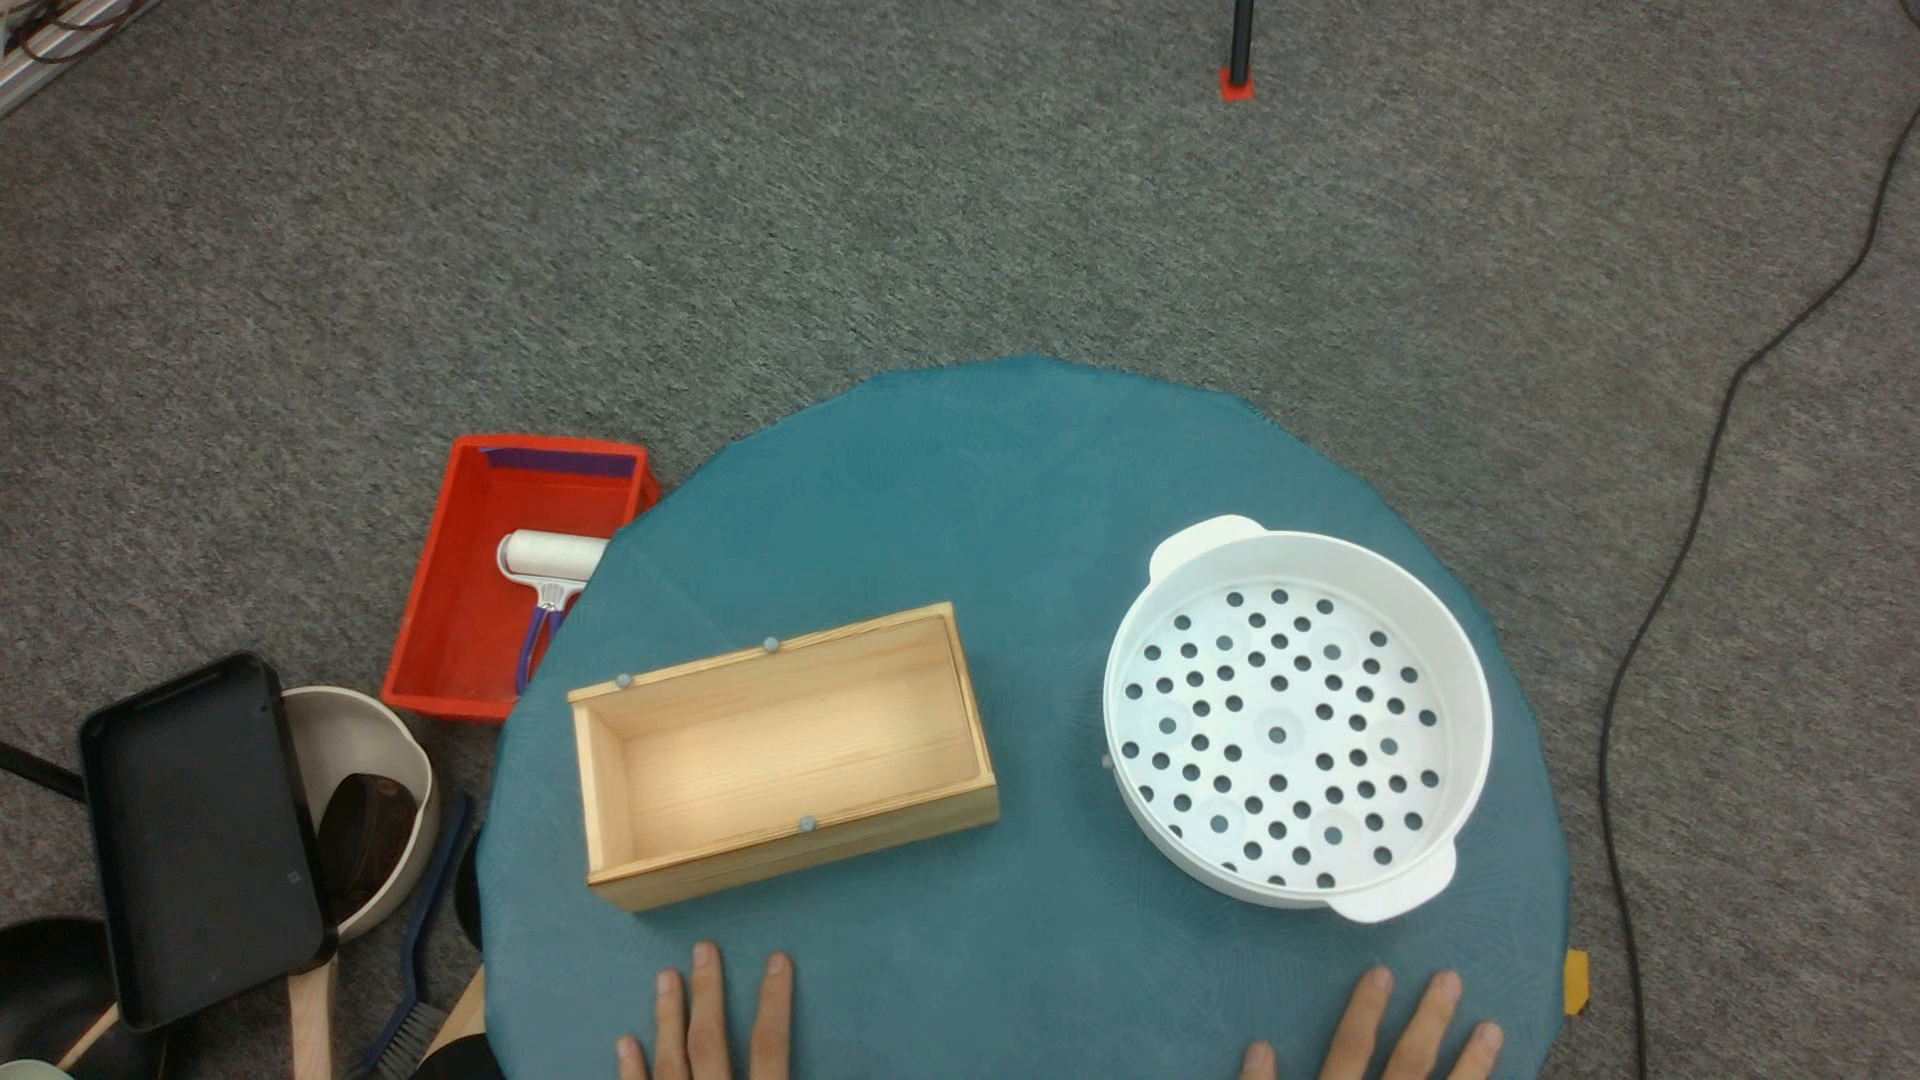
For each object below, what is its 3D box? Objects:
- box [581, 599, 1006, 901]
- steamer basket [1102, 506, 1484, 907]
[{"bbox_3d":[-0.090,0.118,0.765,0.211,0.080,0.108,-14,66,-2],"label":"box"},{"bbox_3d":[0.179,0.093,0.765,0.202,0.069,0.231,-23,67,-6],"label":"steamer basket"}]
